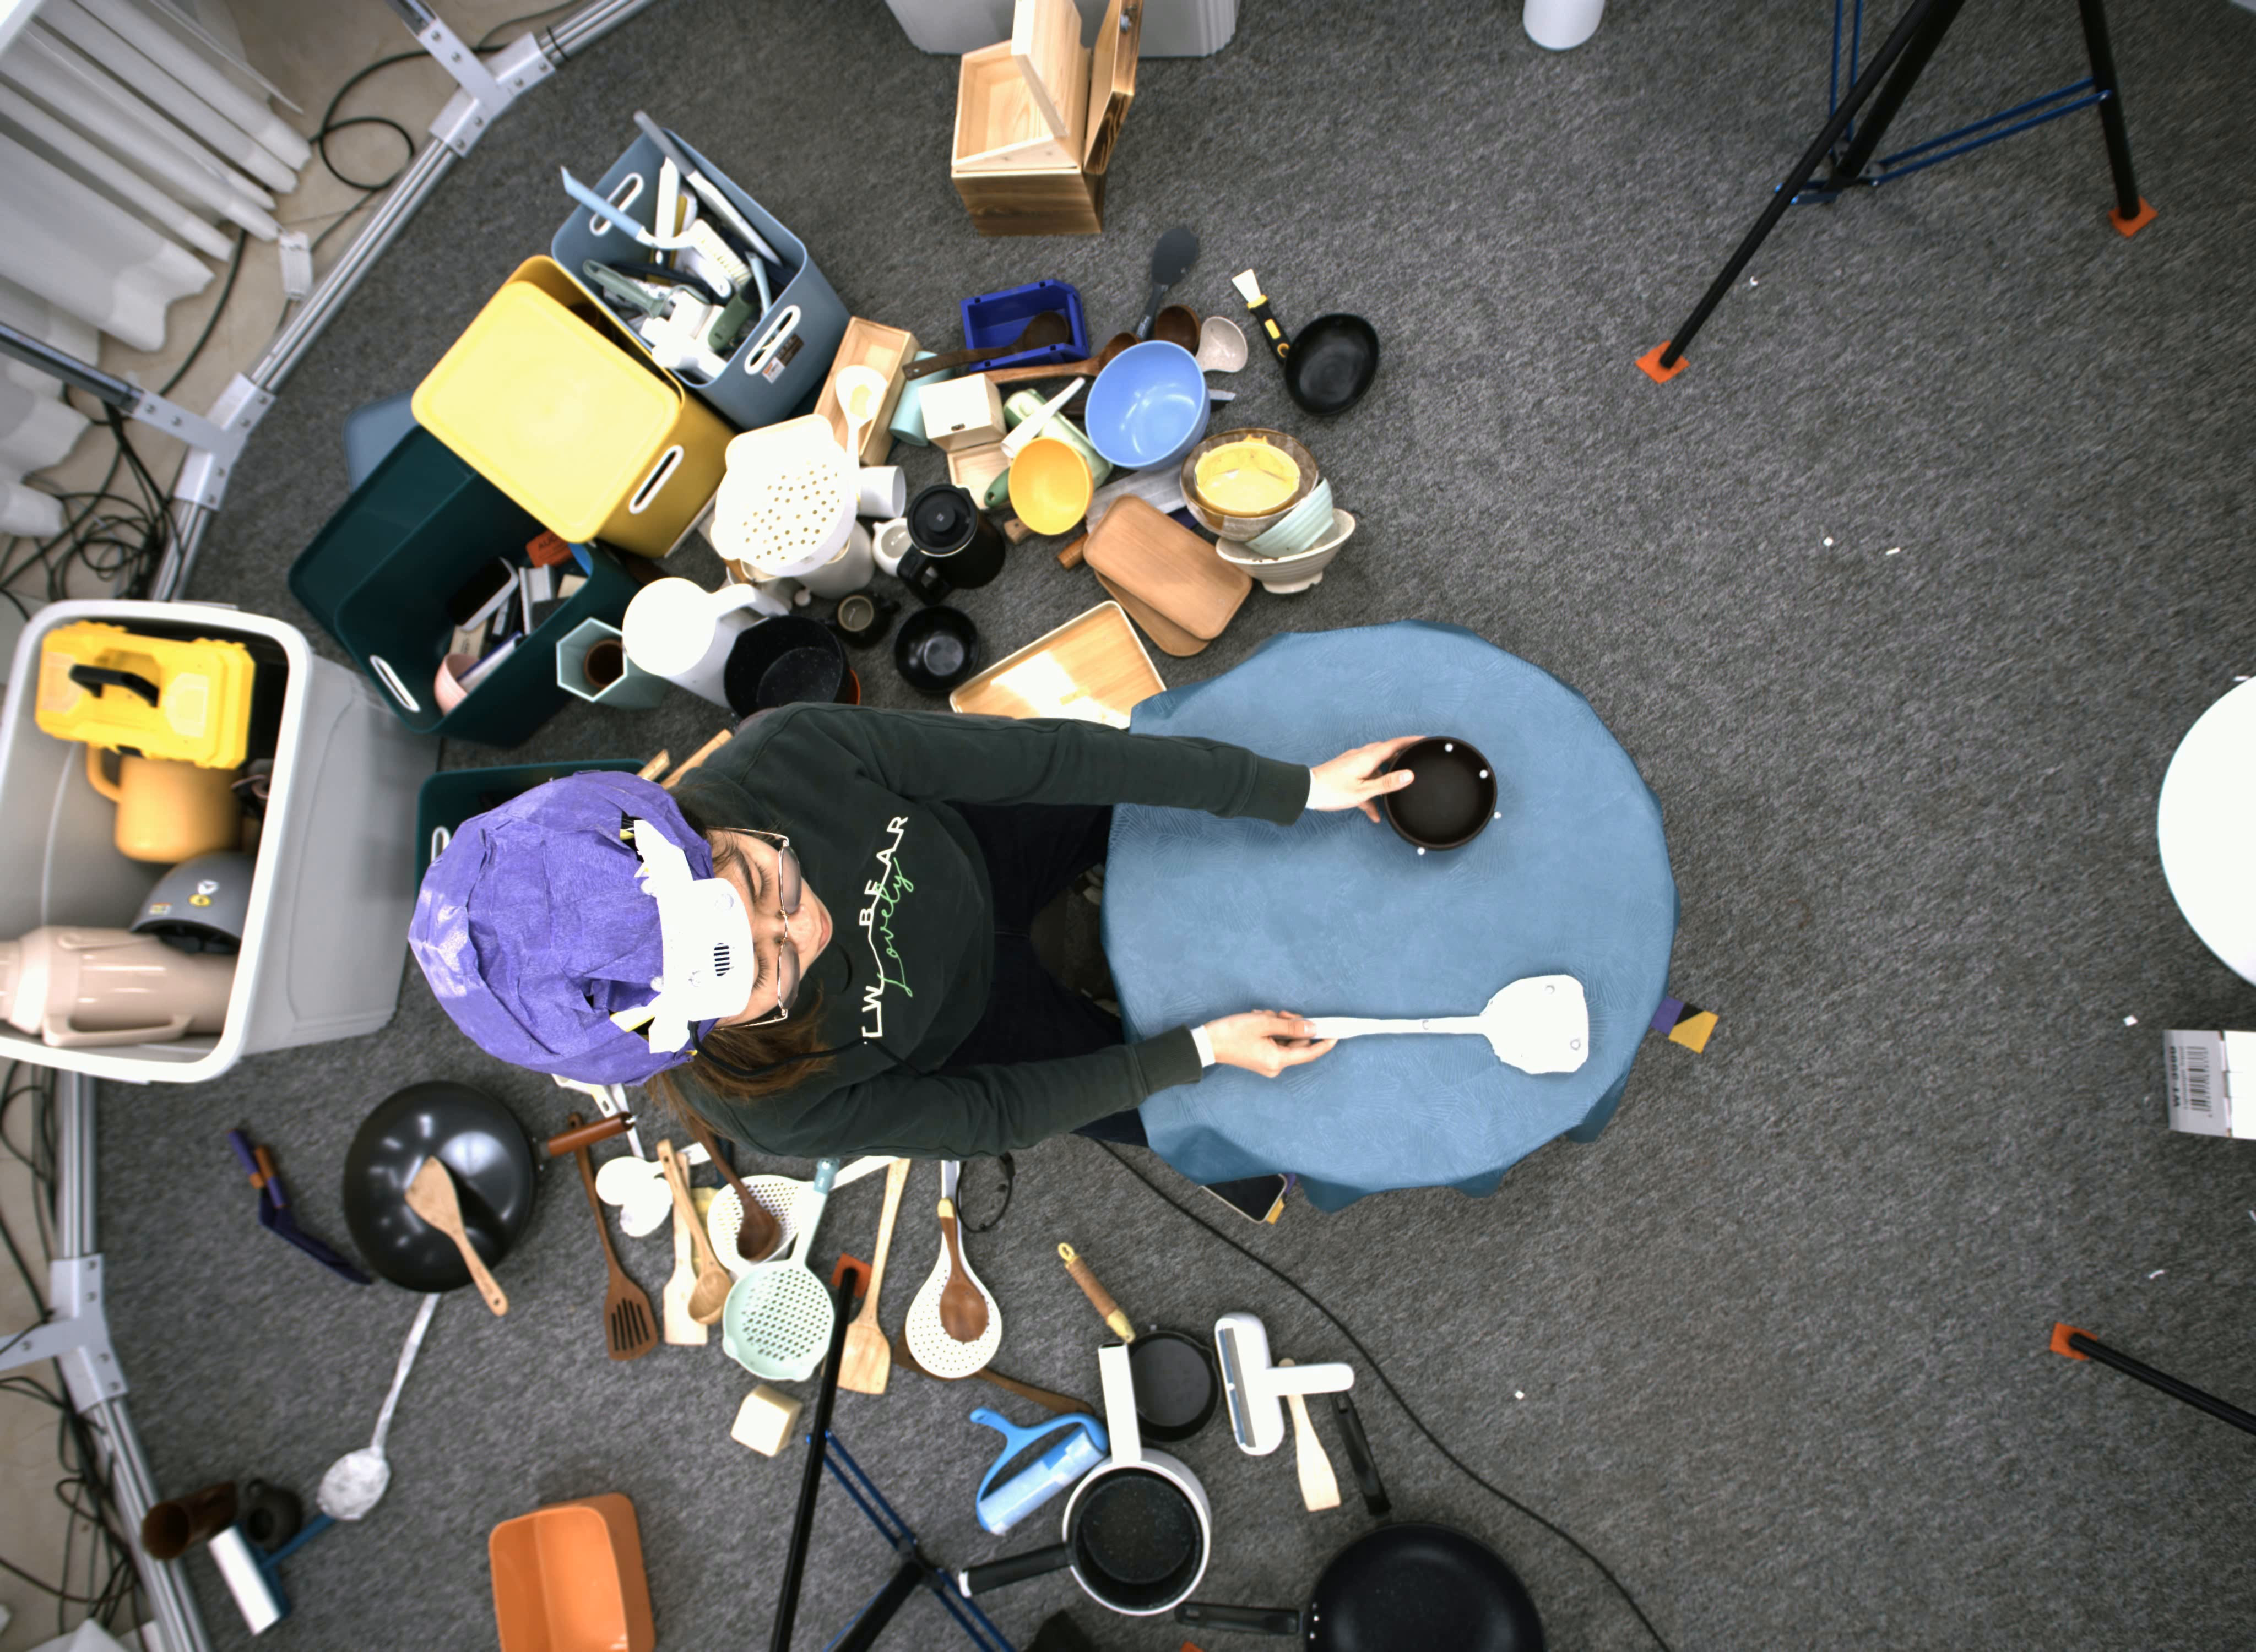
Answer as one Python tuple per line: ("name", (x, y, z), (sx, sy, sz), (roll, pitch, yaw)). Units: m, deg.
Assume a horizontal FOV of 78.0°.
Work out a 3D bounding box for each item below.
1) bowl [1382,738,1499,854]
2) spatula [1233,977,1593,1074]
("bowl", (0.323, -0.029, 1.426), (0.118, 0.070, 0.117), (-1, 83, 11))
("spatula", (0.289, 0.204, 1.428), (0.366, 0.045, 0.098), (-1, 85, 7))
